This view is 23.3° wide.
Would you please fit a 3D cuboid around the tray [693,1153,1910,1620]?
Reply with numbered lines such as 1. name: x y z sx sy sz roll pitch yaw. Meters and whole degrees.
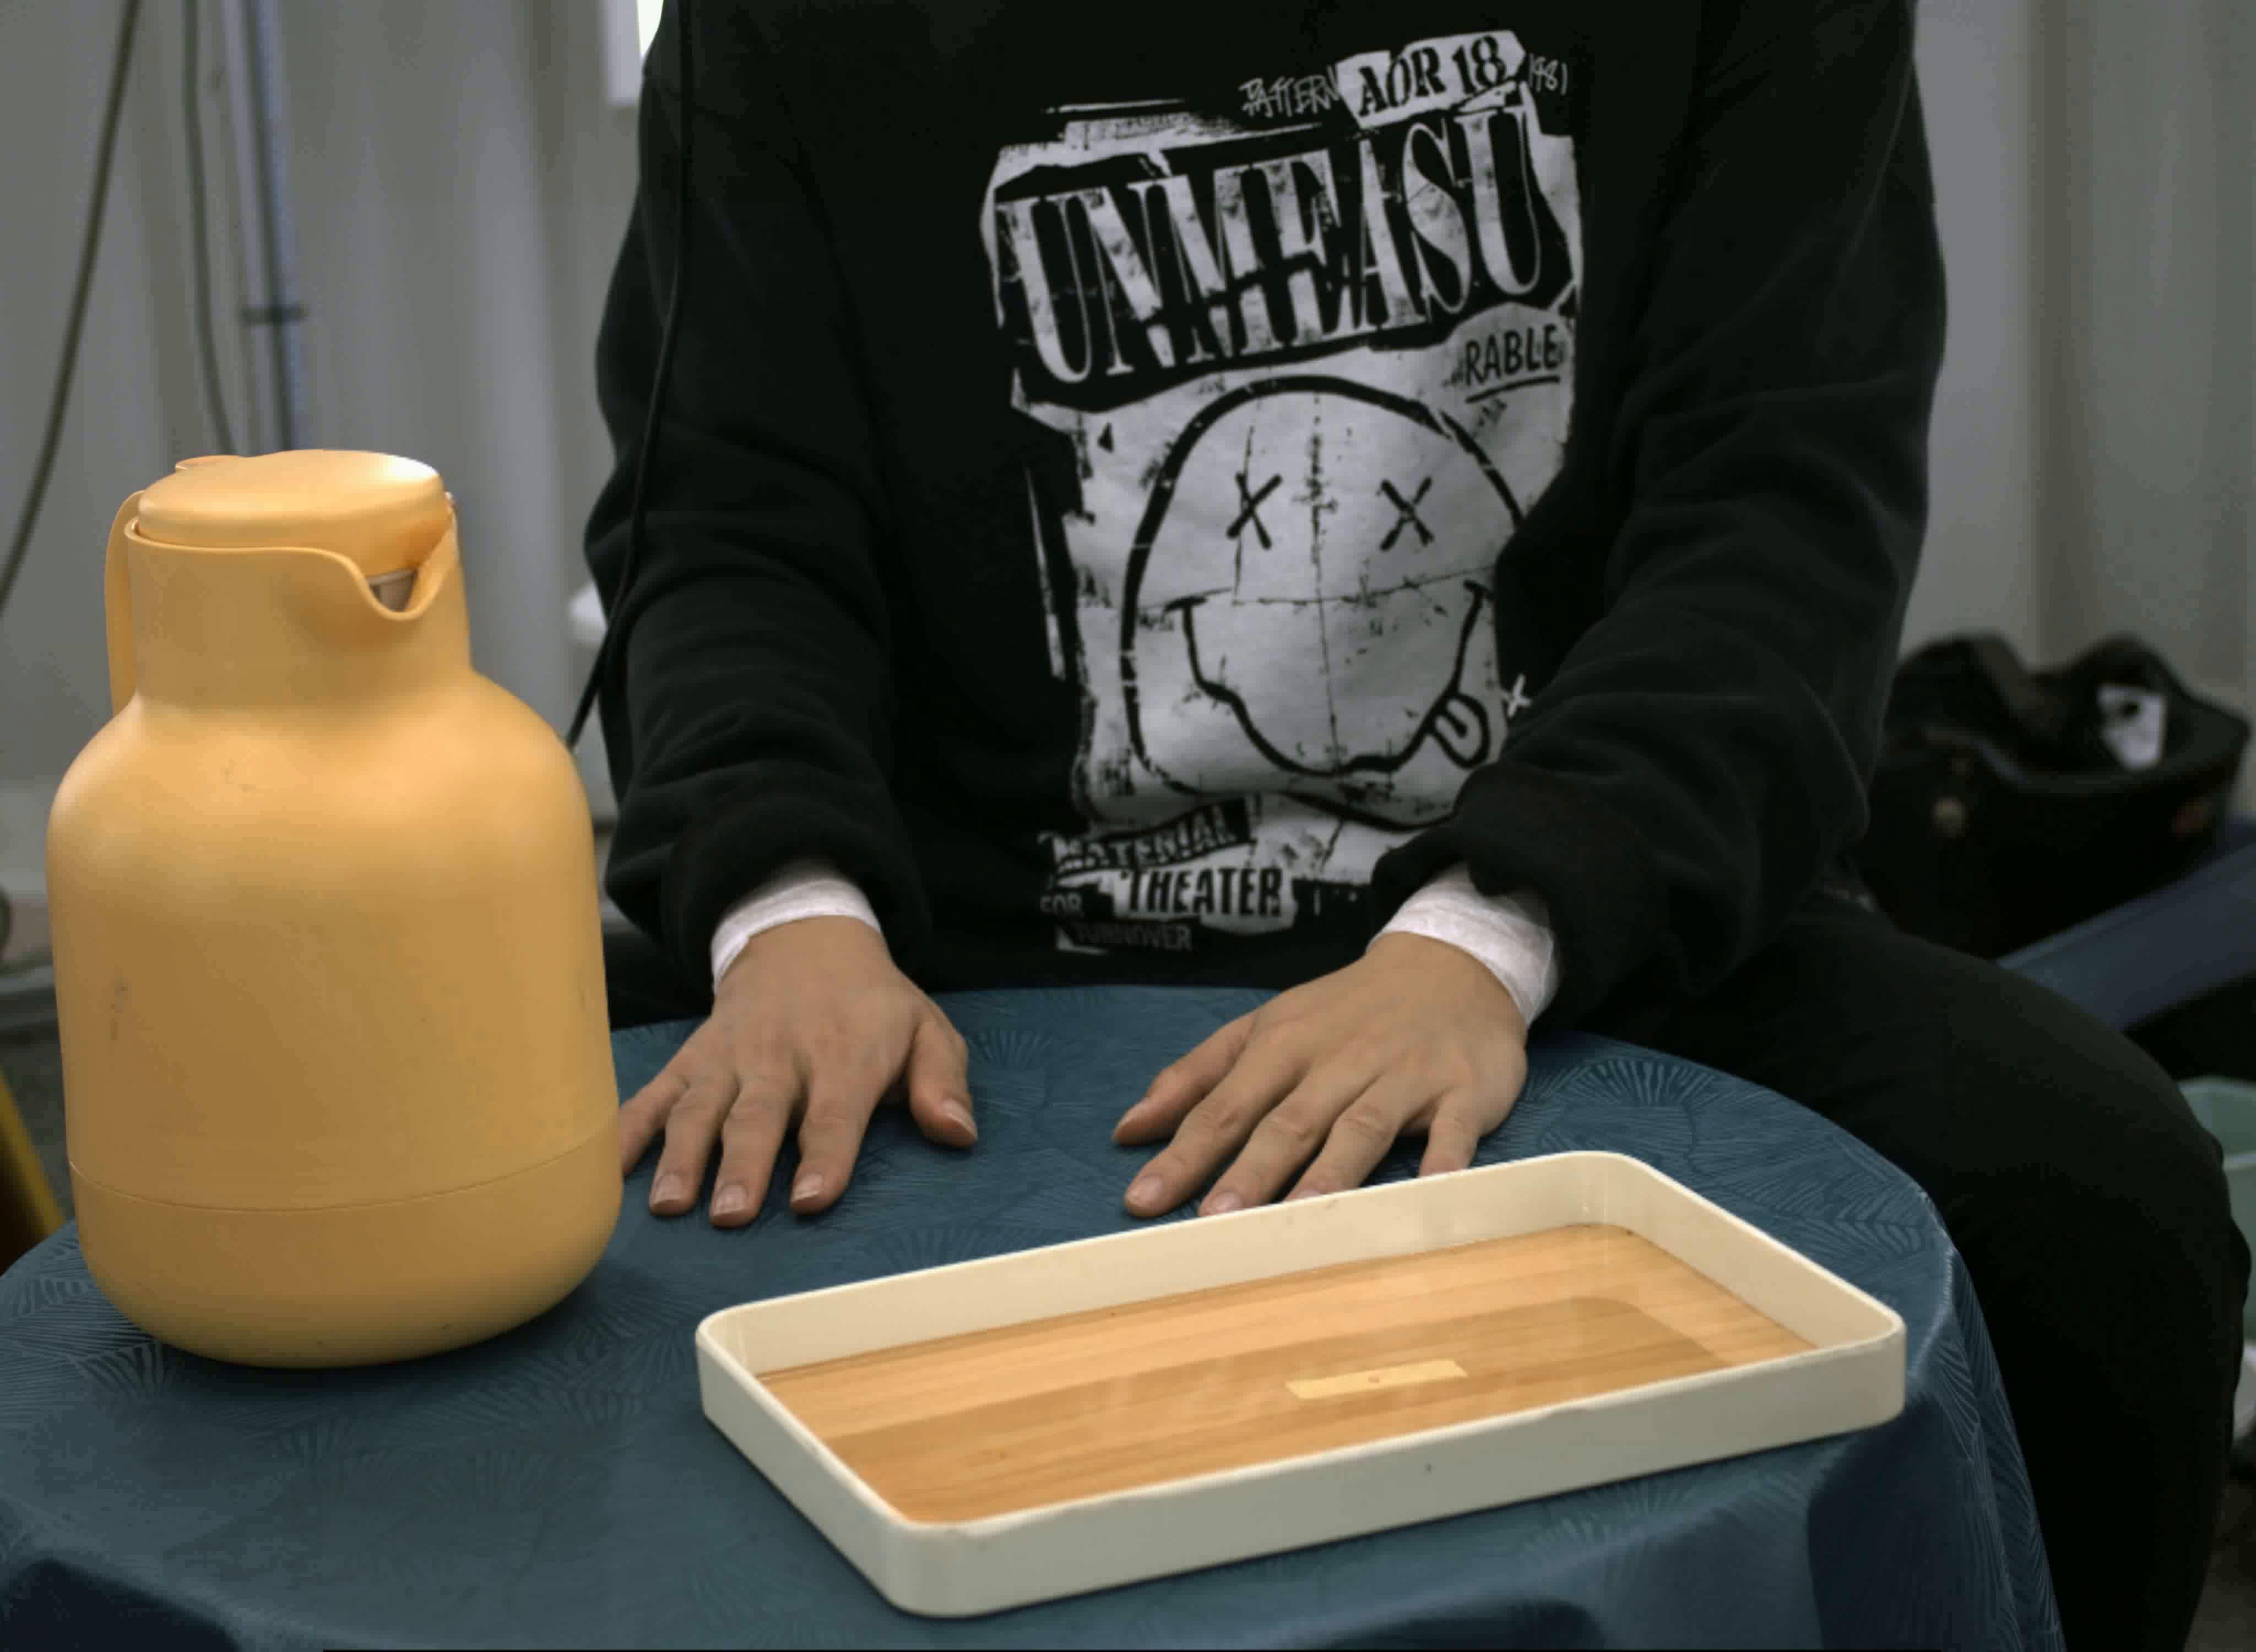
1. tray: 0.046 0.151 1.517 0.299 0.027 0.193 -8 16 -21

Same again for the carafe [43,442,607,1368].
1. carafe: -0.247 0.015 1.632 0.162 0.259 0.204 -8 16 -30
